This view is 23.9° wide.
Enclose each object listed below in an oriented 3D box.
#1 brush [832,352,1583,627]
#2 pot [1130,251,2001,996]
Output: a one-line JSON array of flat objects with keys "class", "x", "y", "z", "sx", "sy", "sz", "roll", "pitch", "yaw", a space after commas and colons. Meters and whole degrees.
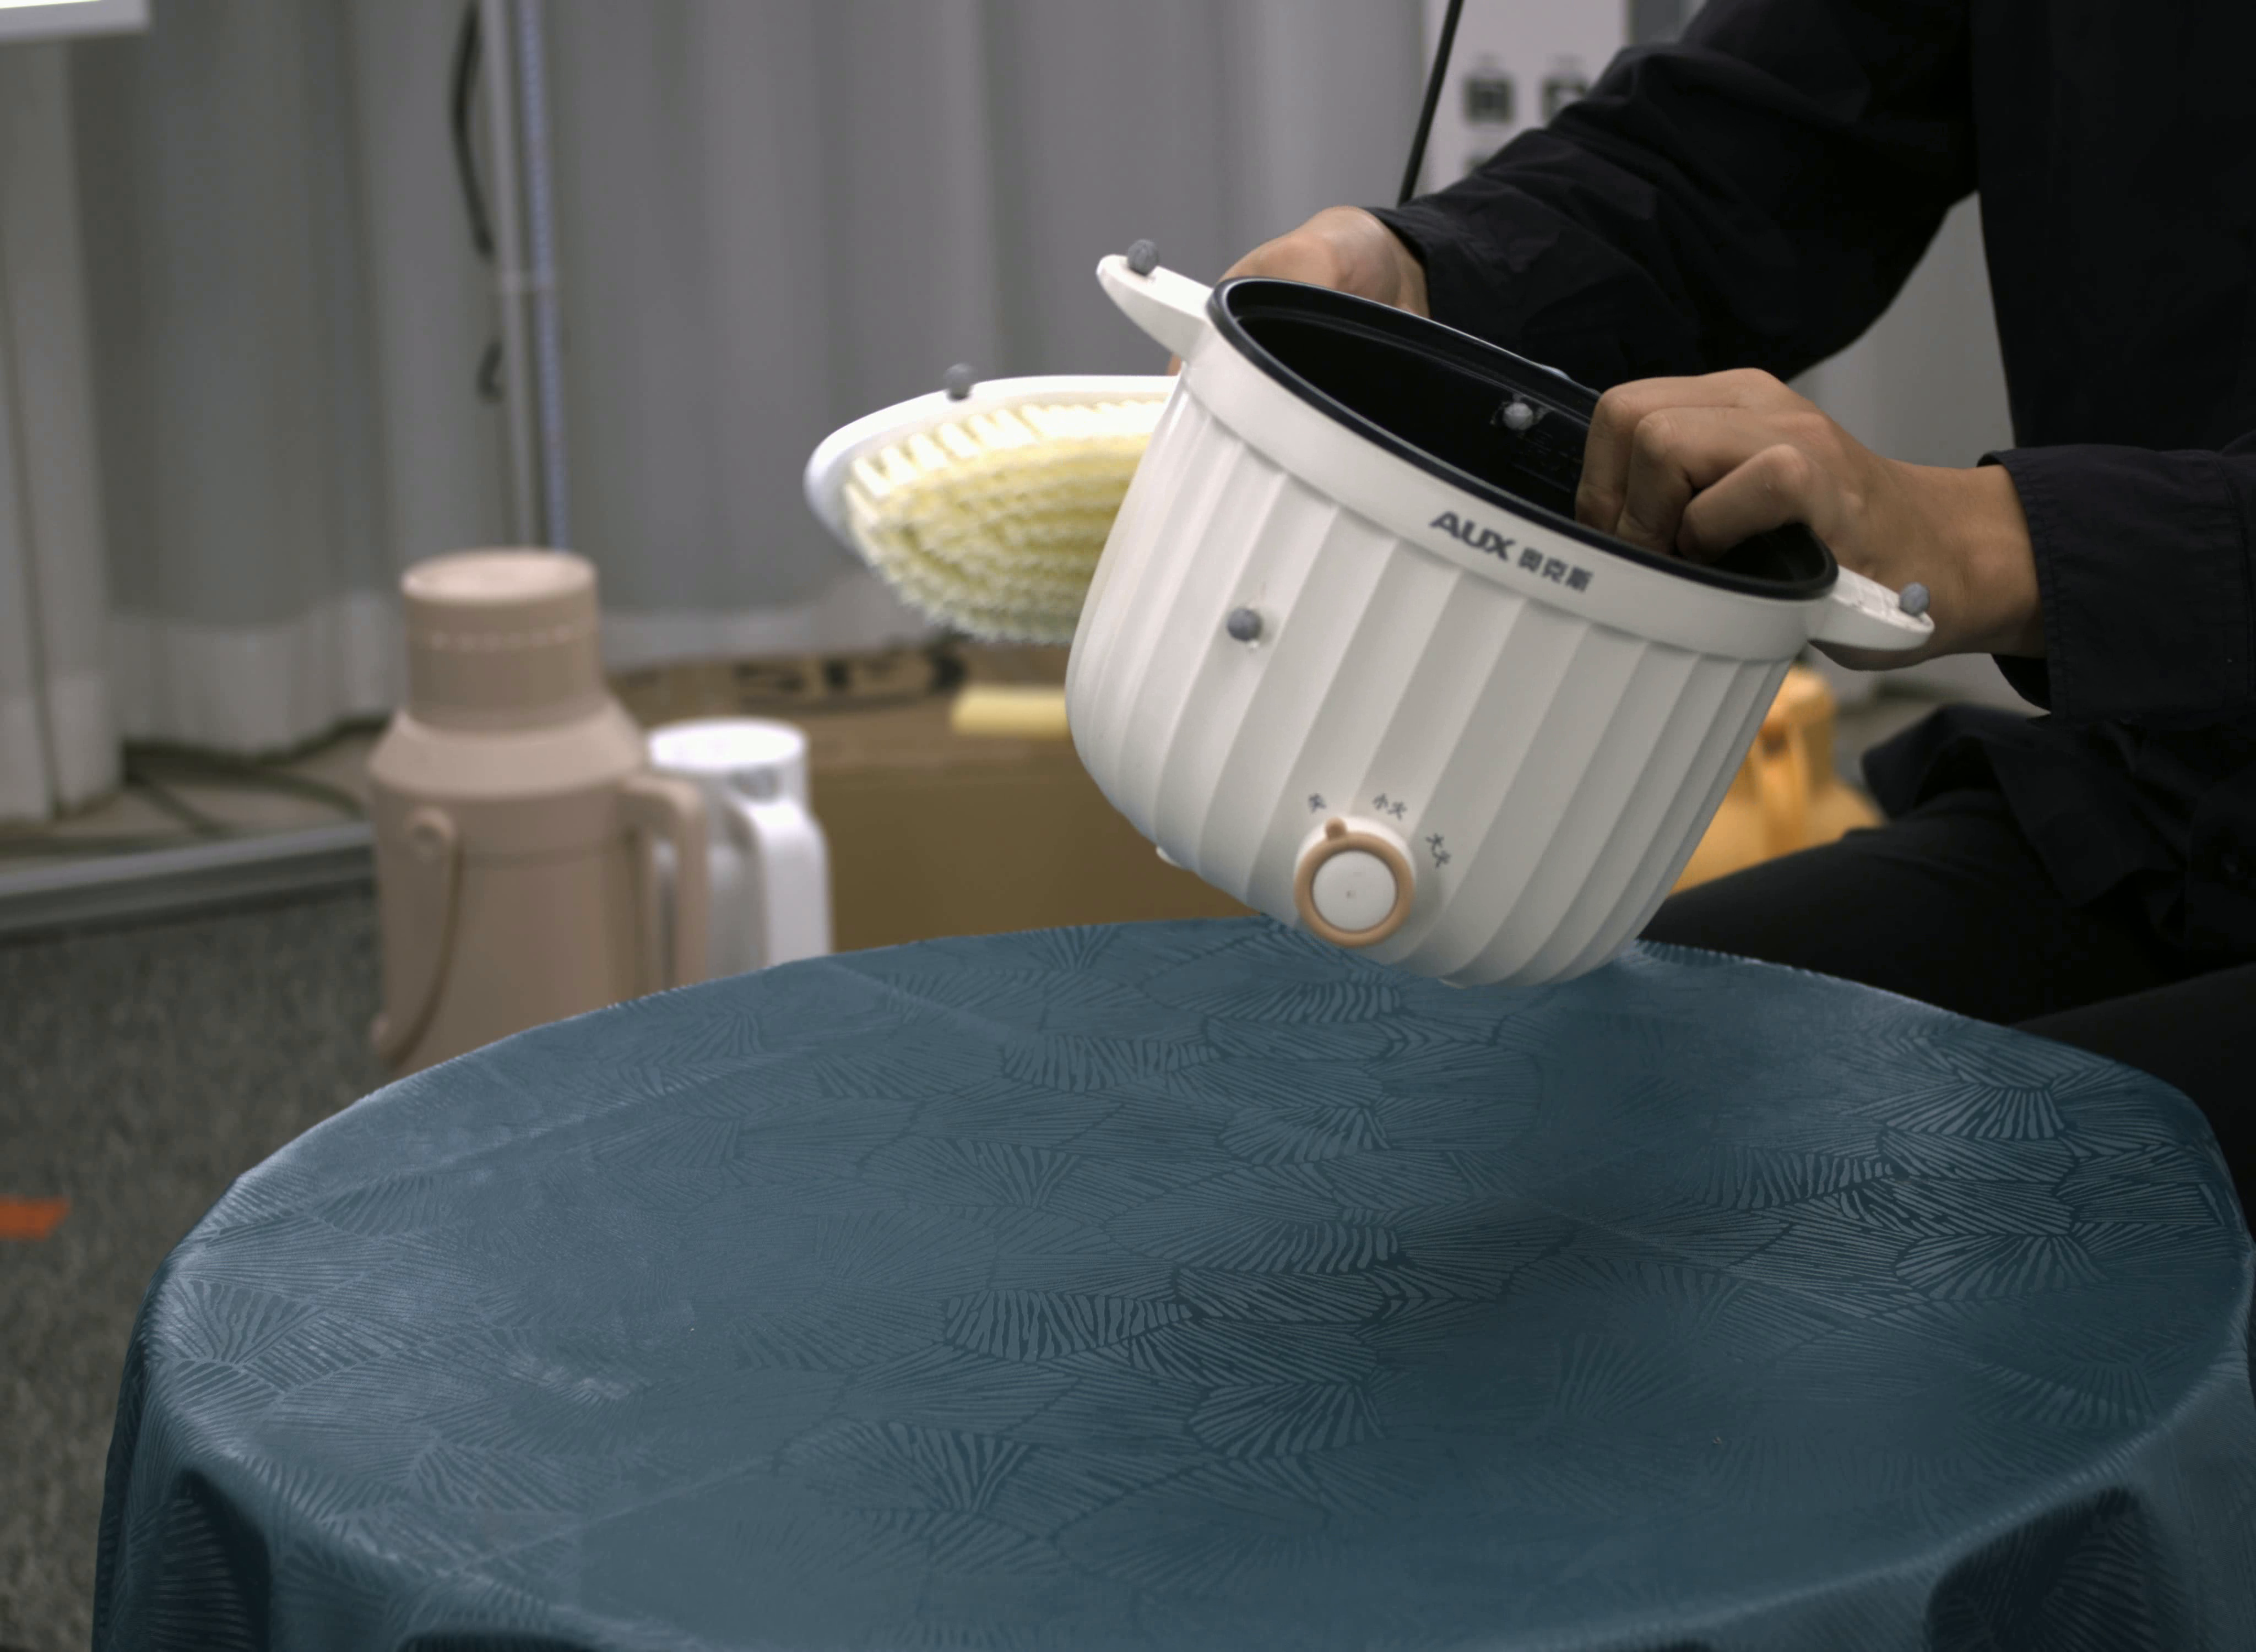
[{"class": "brush", "x": 0.052, "y": -0.106, "z": 1.533, "sx": 0.317, "sy": 0.085, "sz": 0.084, "roll": -10, "pitch": -23, "yaw": -46}, {"class": "pot", "x": 0.096, "y": -0.043, "z": 1.397, "sx": 0.239, "sy": 0.143, "sz": 0.191, "roll": 22, "pitch": 14, "yaw": -2}]
